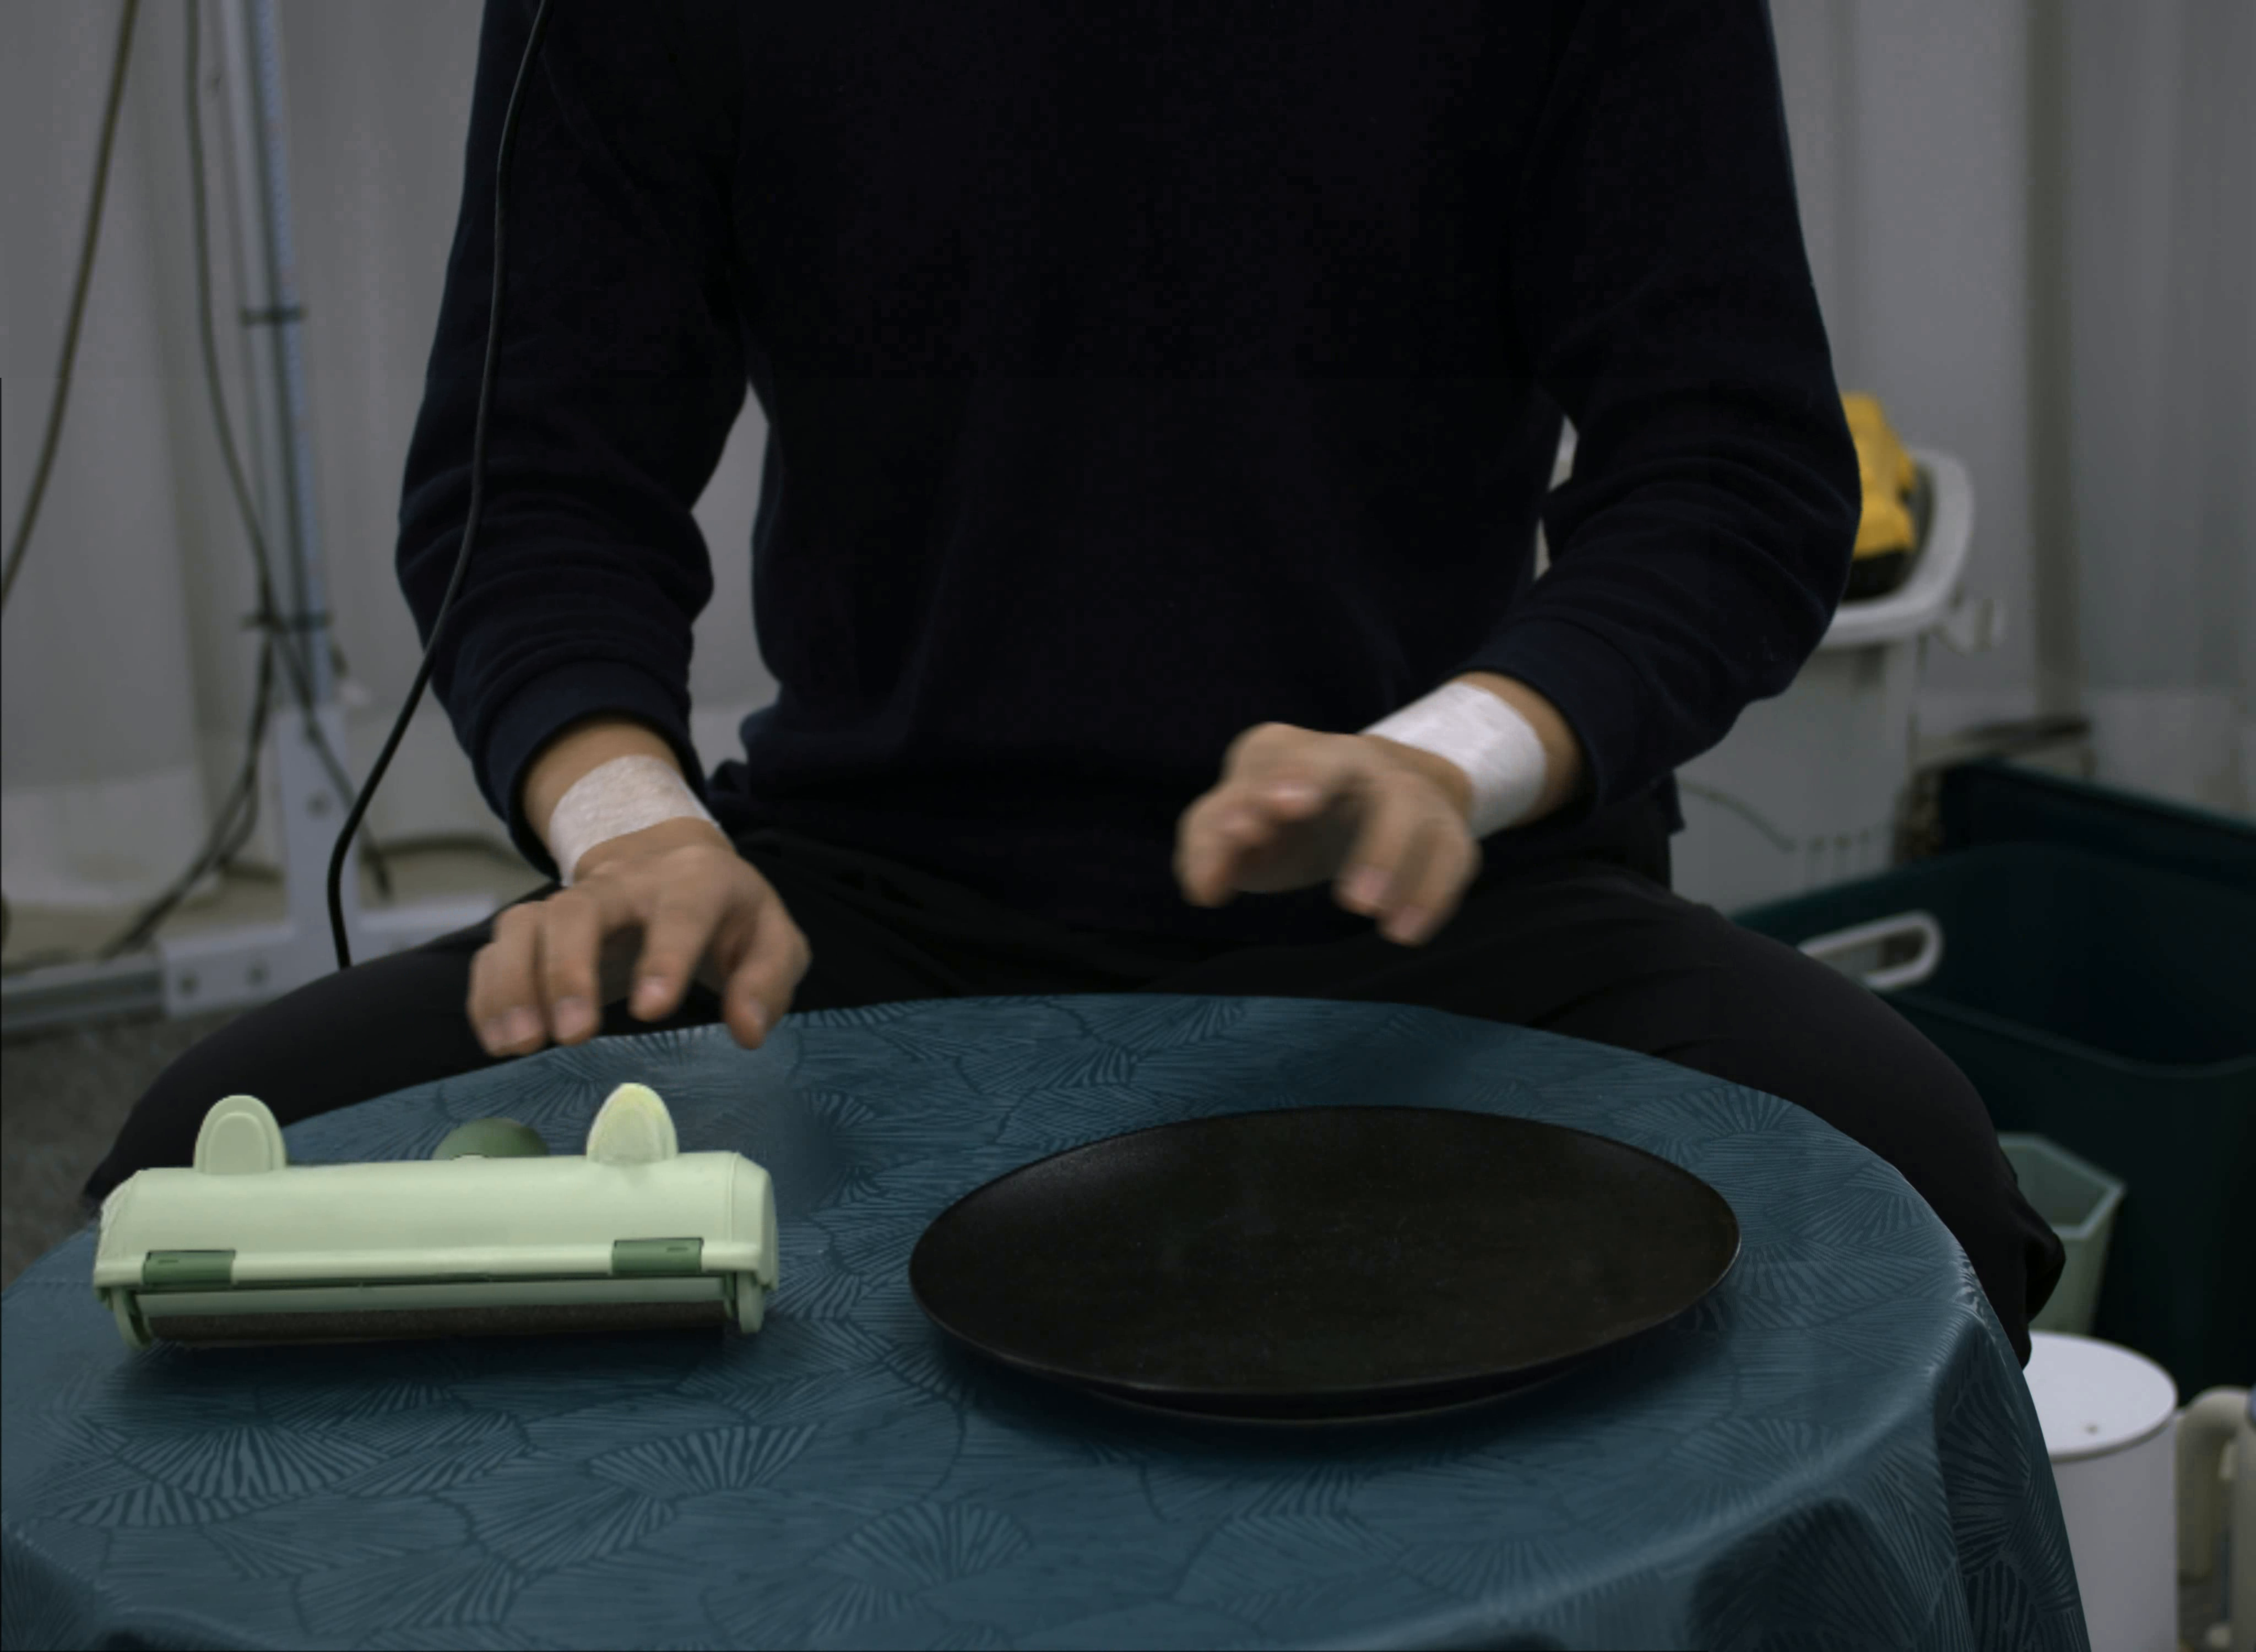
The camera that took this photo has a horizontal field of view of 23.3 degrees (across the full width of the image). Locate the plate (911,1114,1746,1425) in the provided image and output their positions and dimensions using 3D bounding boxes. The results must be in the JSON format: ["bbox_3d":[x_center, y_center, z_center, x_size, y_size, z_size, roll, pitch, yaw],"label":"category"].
[{"bbox_3d":[0.059,0.131,1.596,0.243,0.023,0.246,-3,15,0],"label":"plate"}]

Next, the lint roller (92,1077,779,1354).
[{"bbox_3d":[-0.202,0.097,1.655,0.198,0.081,0.185,-2,21,1],"label":"lint roller"}]
